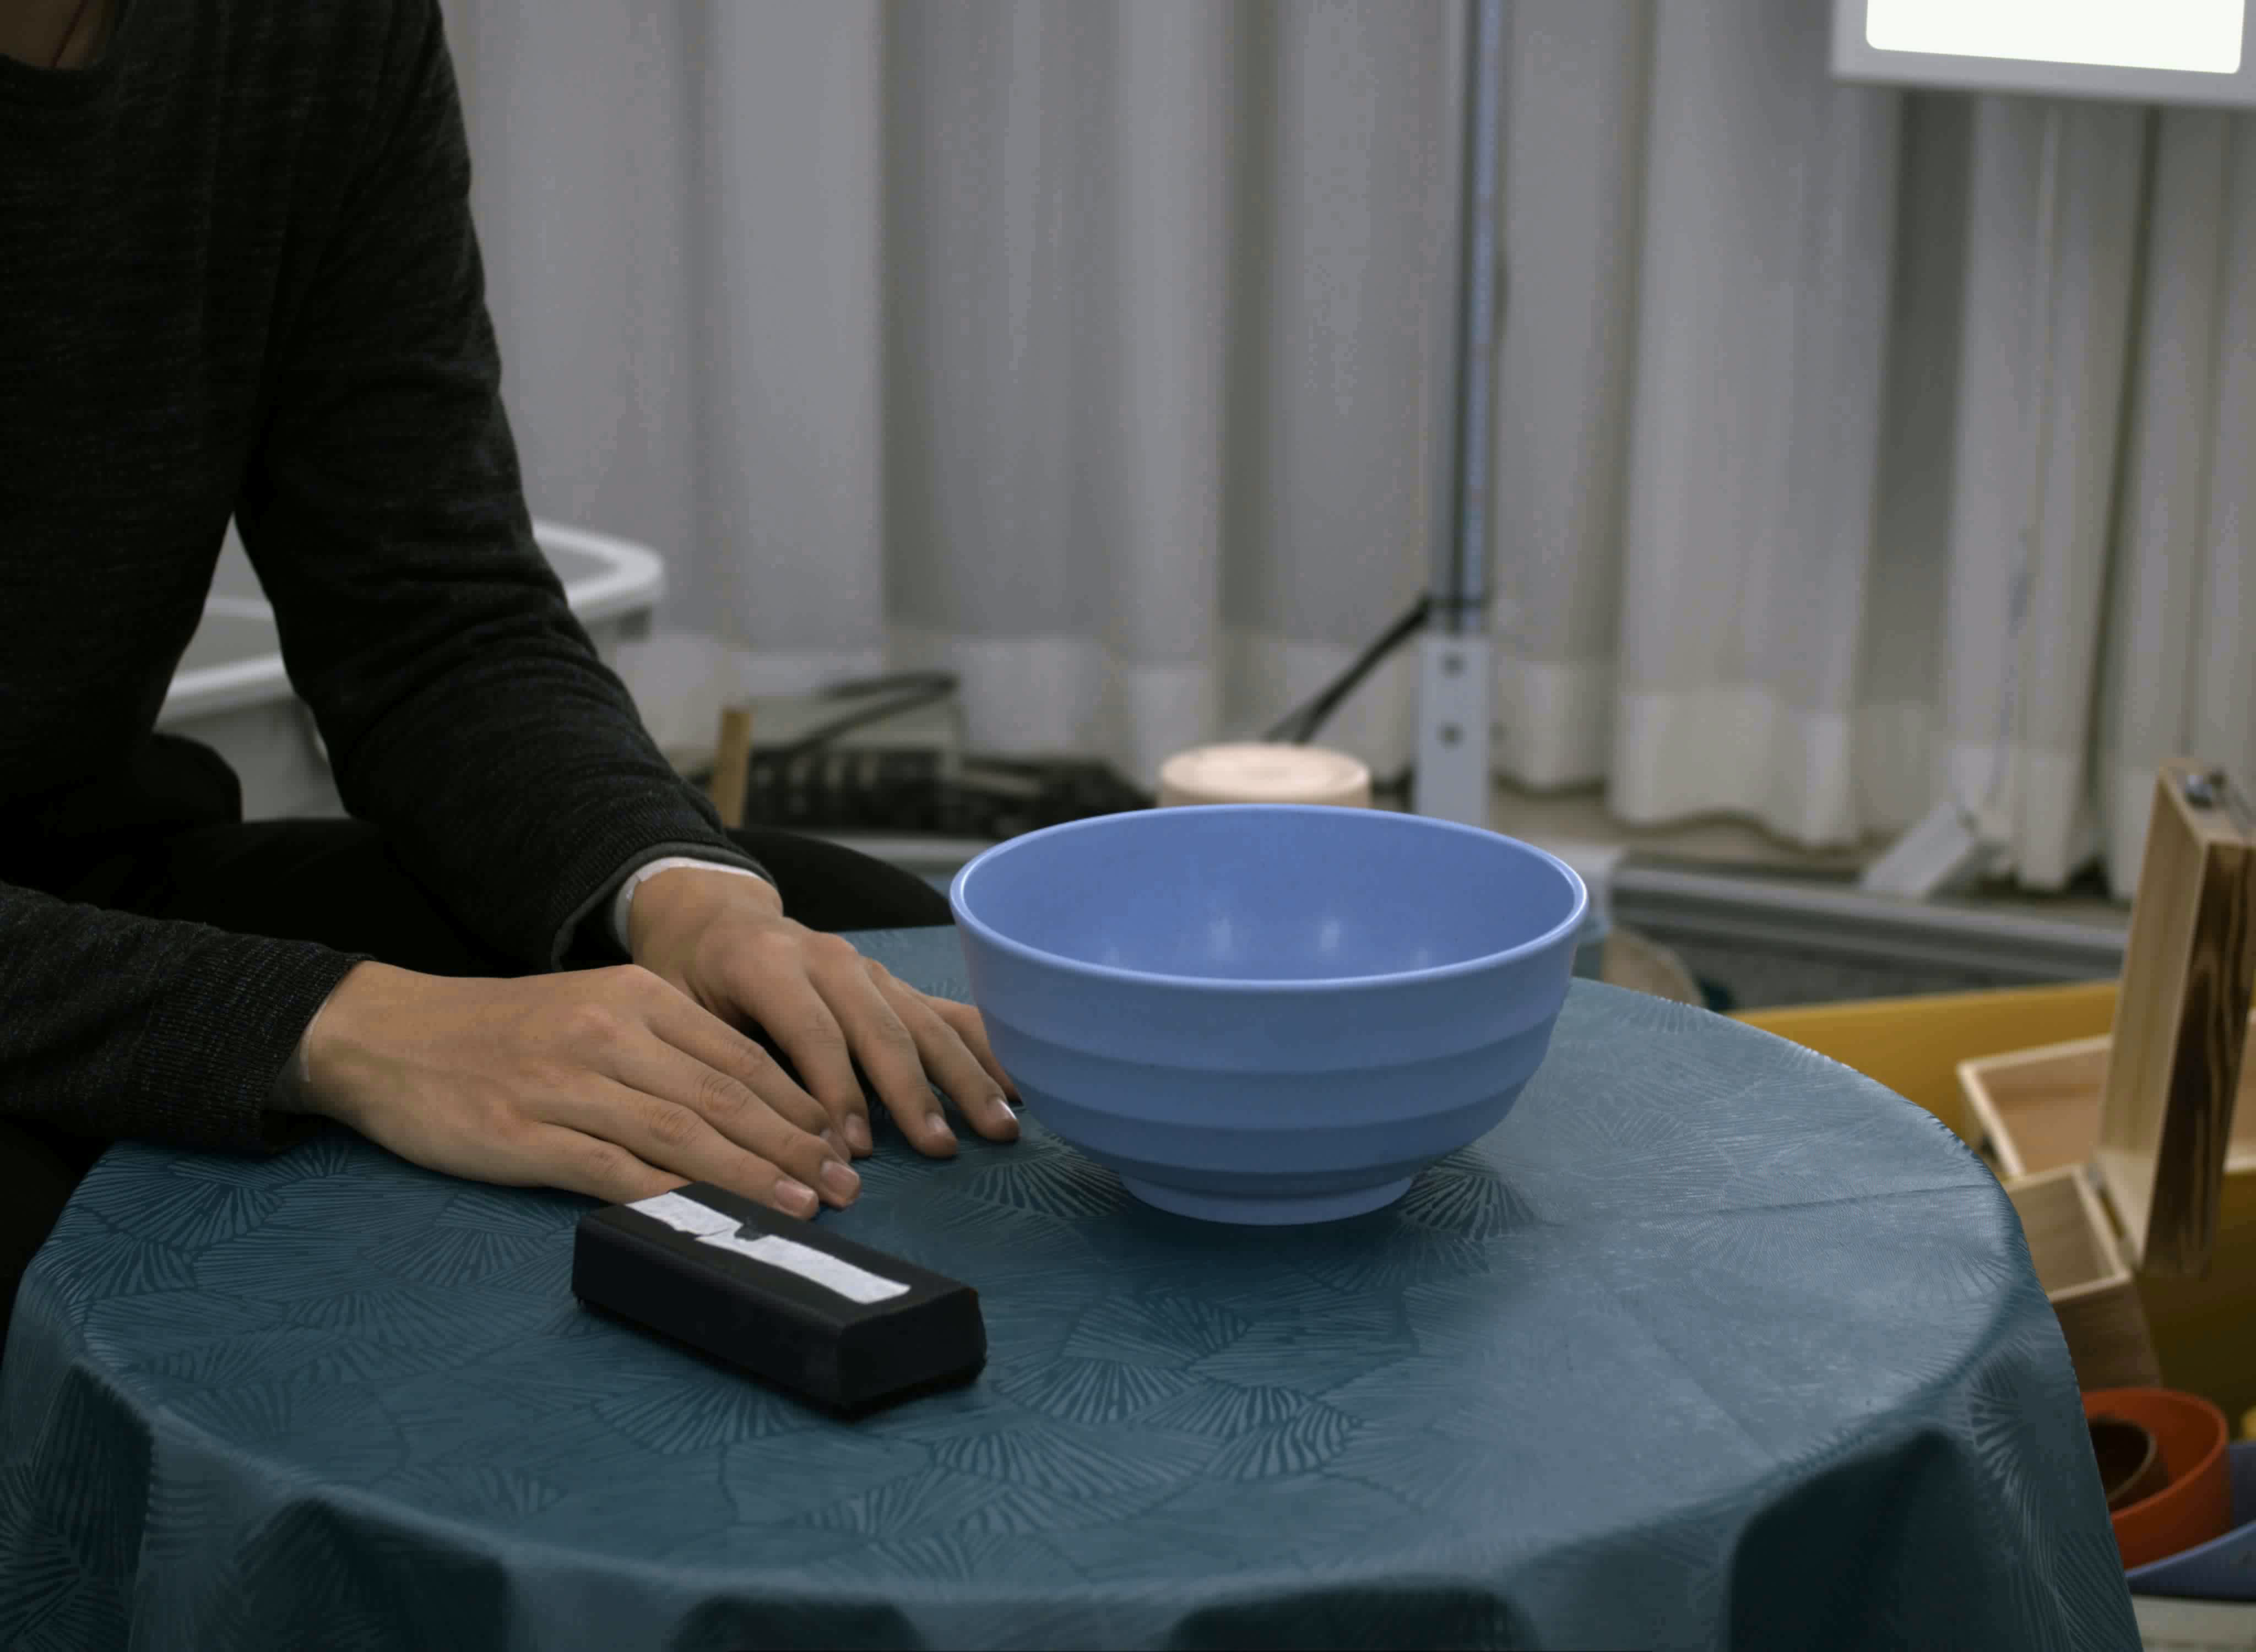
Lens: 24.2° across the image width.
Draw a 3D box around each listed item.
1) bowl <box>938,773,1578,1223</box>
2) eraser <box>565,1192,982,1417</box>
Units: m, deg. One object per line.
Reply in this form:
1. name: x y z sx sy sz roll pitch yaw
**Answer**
1. bowl: 0.041 0.061 1.629 0.196 0.096 0.195 -1 22 1
2. eraser: -0.101 0.134 1.486 0.054 0.030 0.124 -11 19 -43
